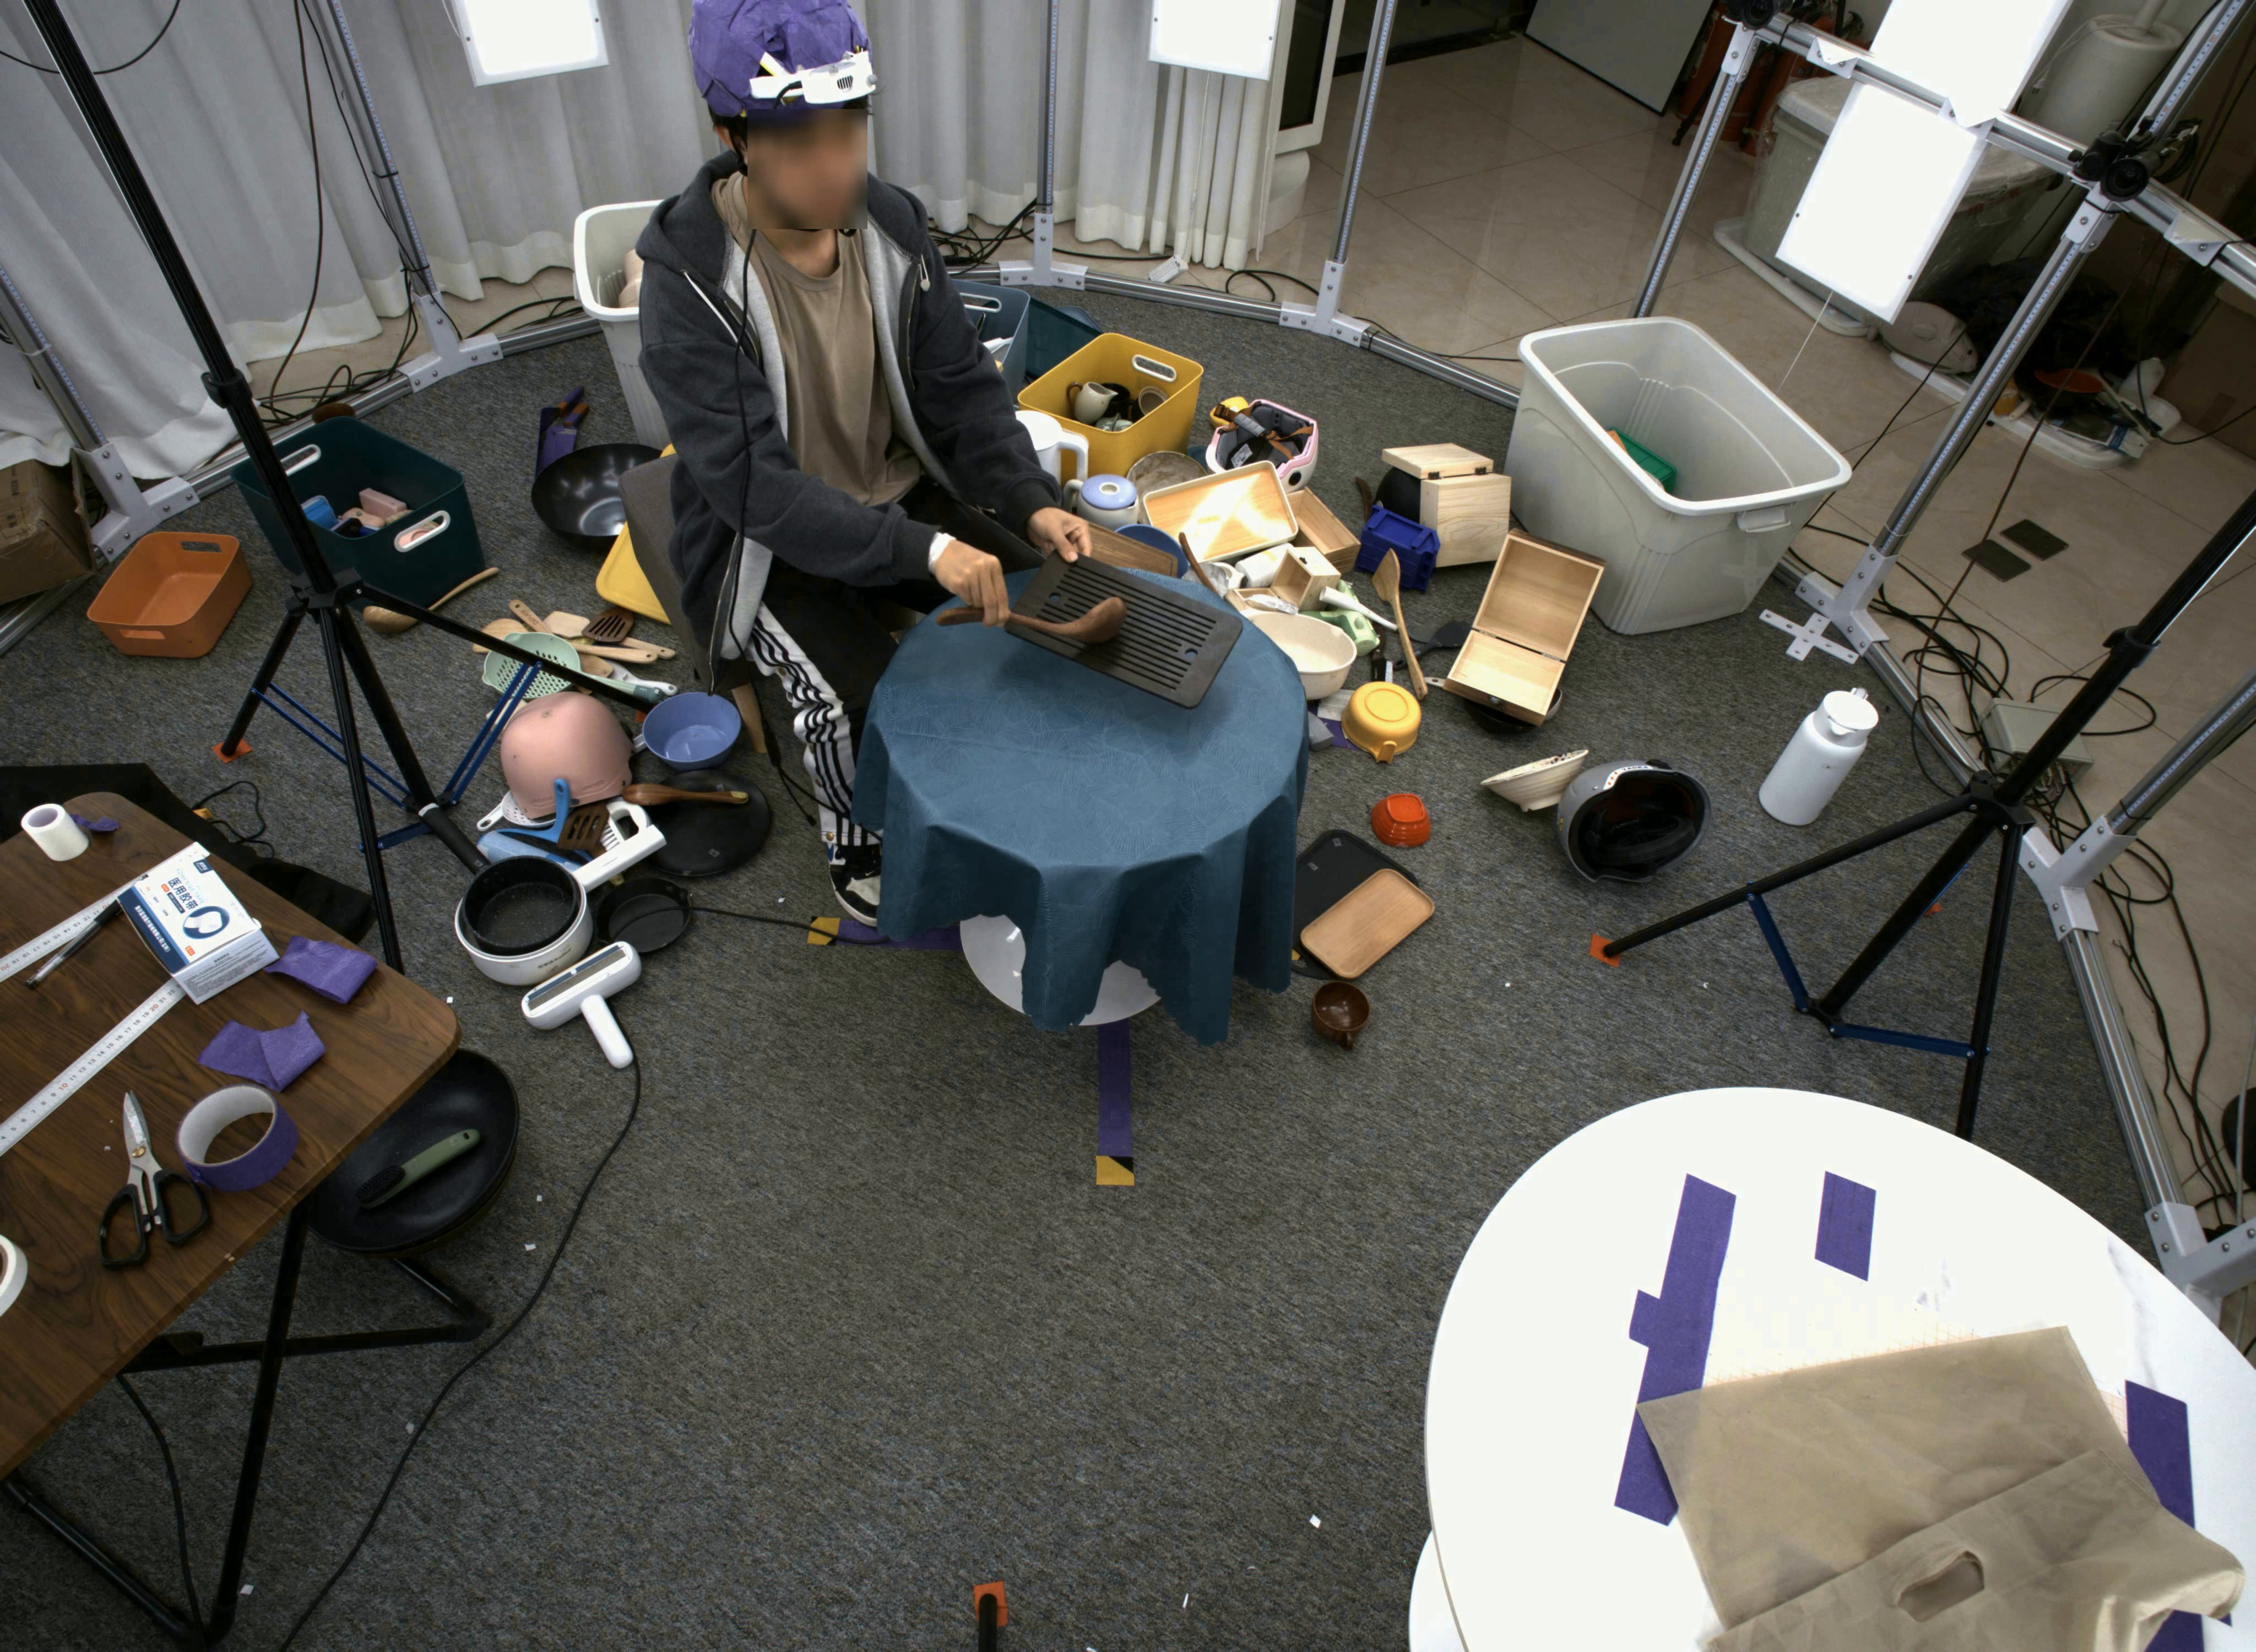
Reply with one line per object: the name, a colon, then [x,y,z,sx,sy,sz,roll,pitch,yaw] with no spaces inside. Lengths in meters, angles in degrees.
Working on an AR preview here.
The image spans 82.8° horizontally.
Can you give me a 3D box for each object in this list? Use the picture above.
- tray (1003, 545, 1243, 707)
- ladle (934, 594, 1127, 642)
tray: [-0.006,-0.284,1.814,0.308,0.018,0.173,24,63,14]
ladle: [-0.131,-0.291,1.755,0.260,0.075,0.066,5,56,-4]
